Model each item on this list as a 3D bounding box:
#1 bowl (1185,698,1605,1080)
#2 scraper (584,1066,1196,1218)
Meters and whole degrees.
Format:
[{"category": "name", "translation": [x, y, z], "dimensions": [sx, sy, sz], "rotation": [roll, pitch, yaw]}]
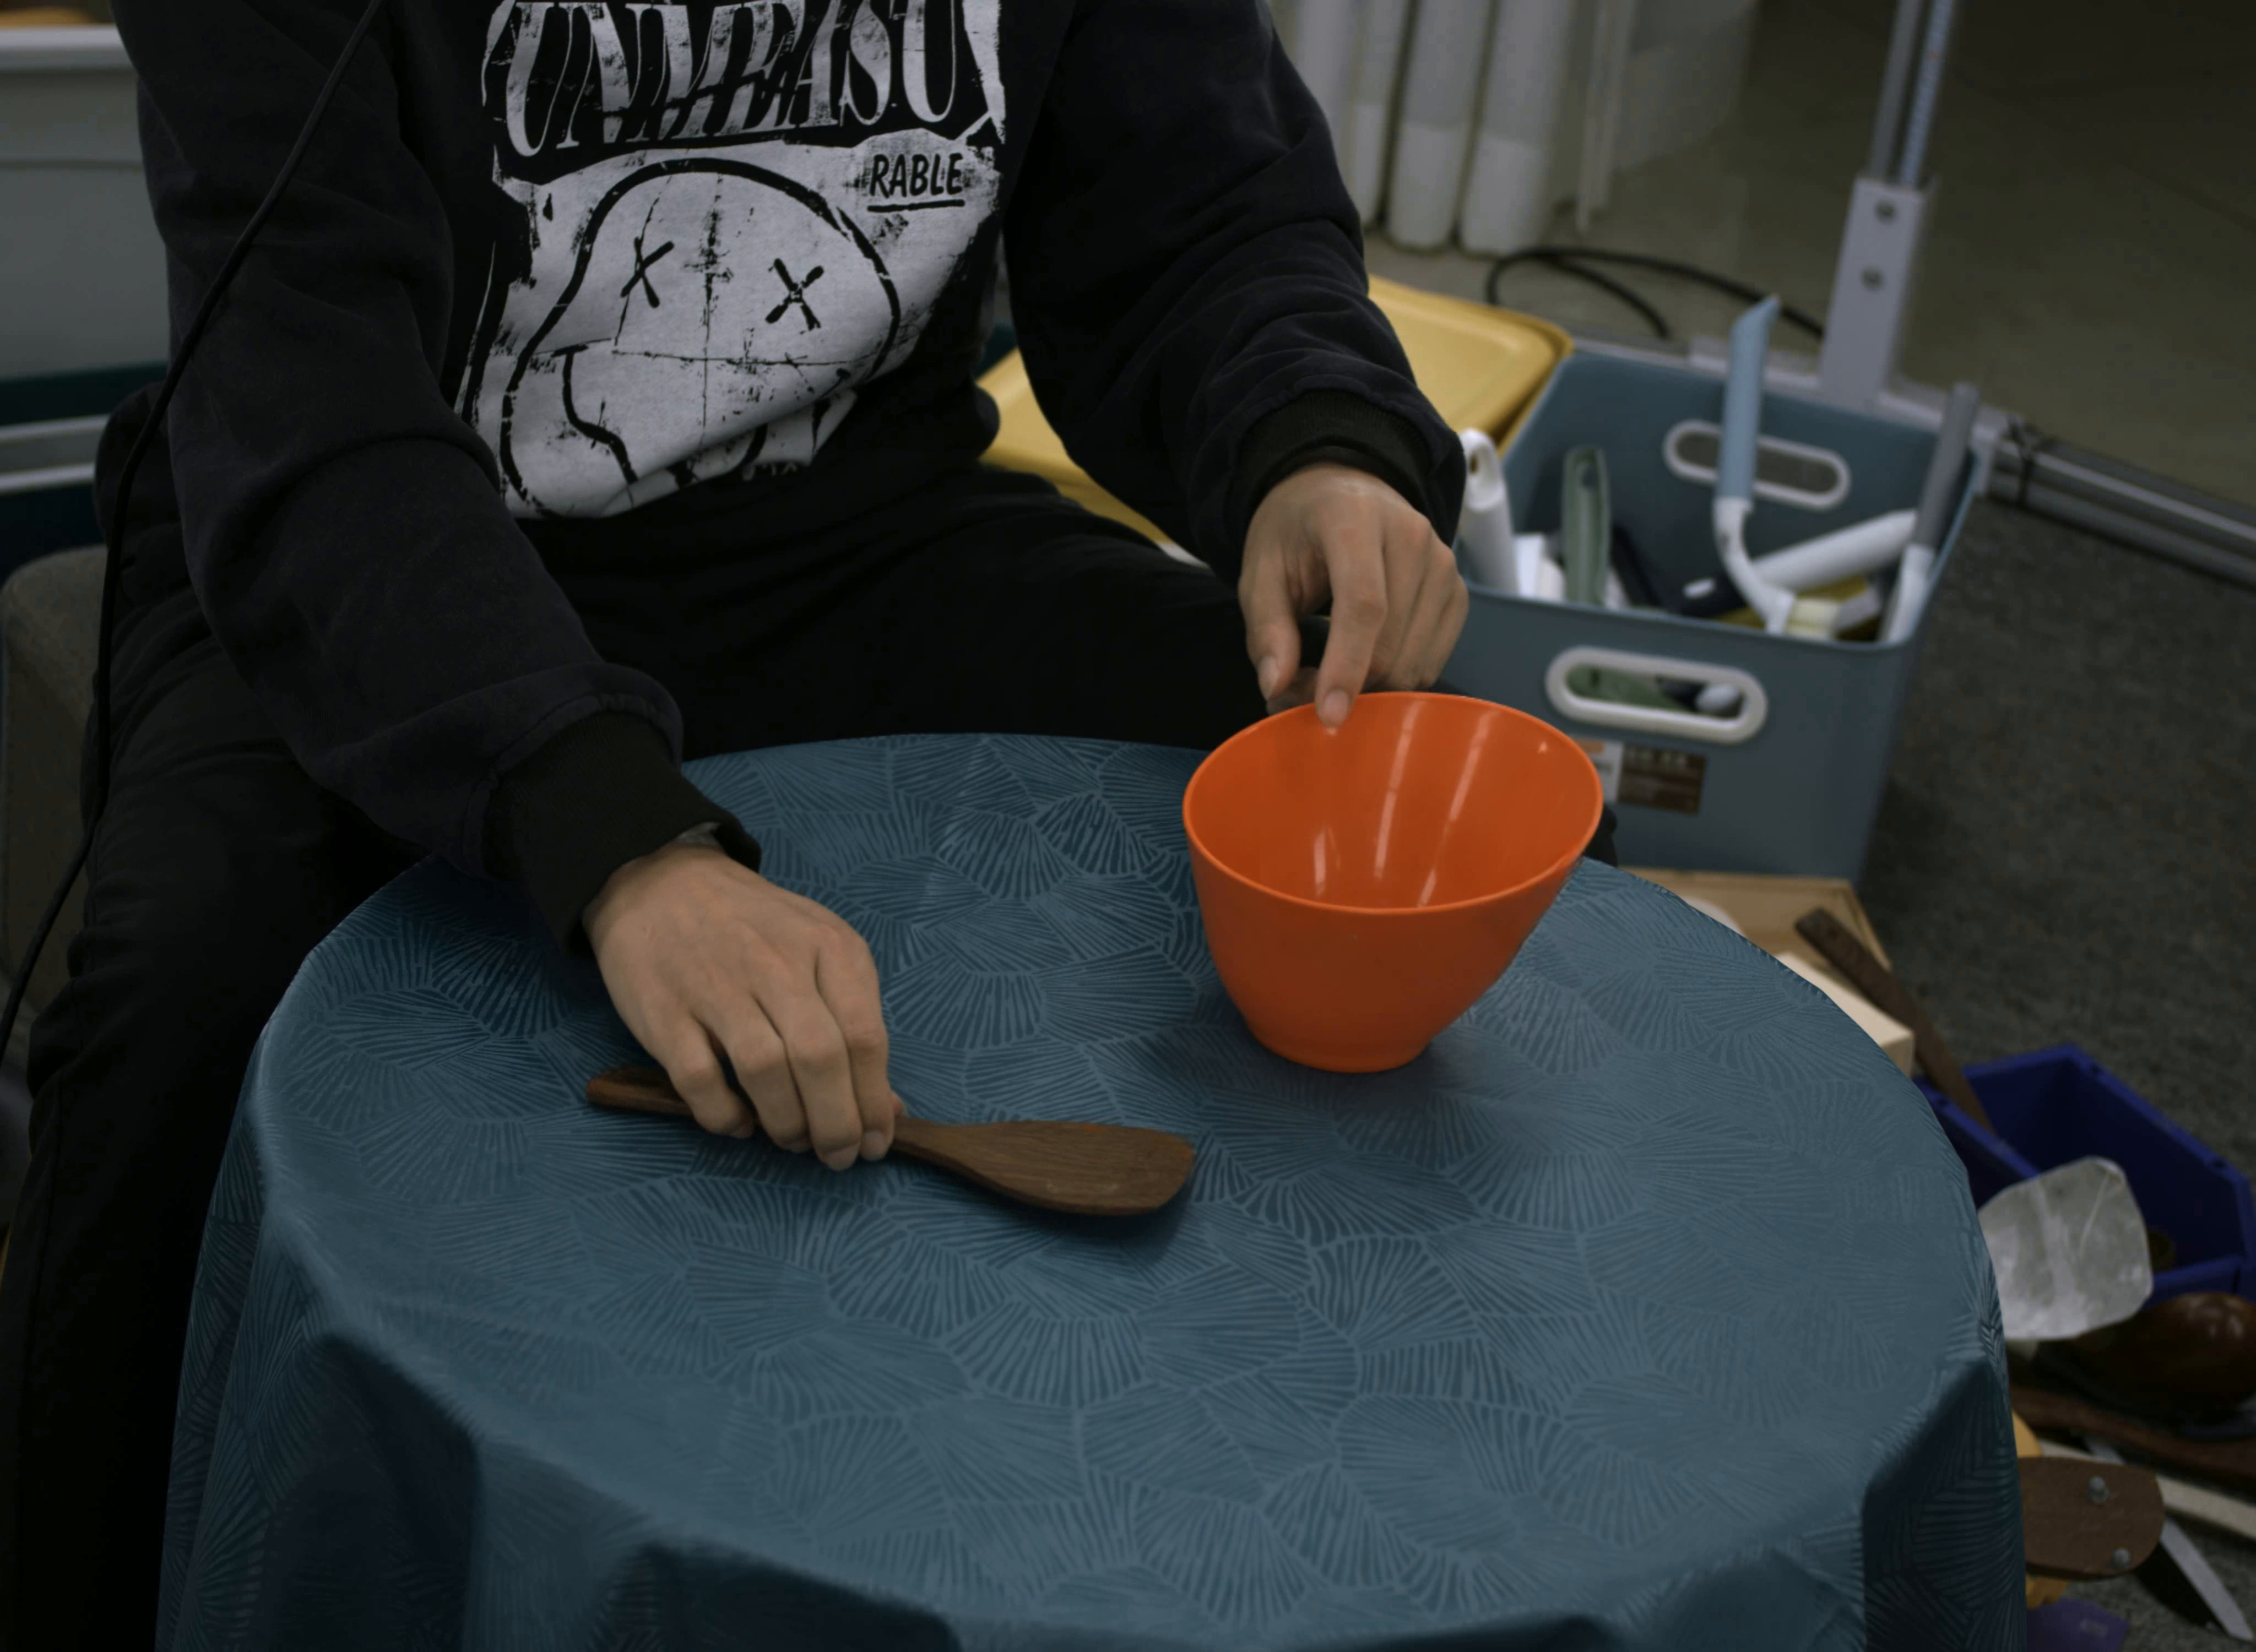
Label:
[{"category": "bowl", "translation": [0.090, 0.028, 1.898], "dimensions": [0.147, 0.104, 0.149], "rotation": [5, 27, -3]}, {"category": "scraper", "translation": [-0.082, 0.104, 1.807], "dimensions": [0.211, 0.011, 0.076], "rotation": [9, 19, 9]}]
